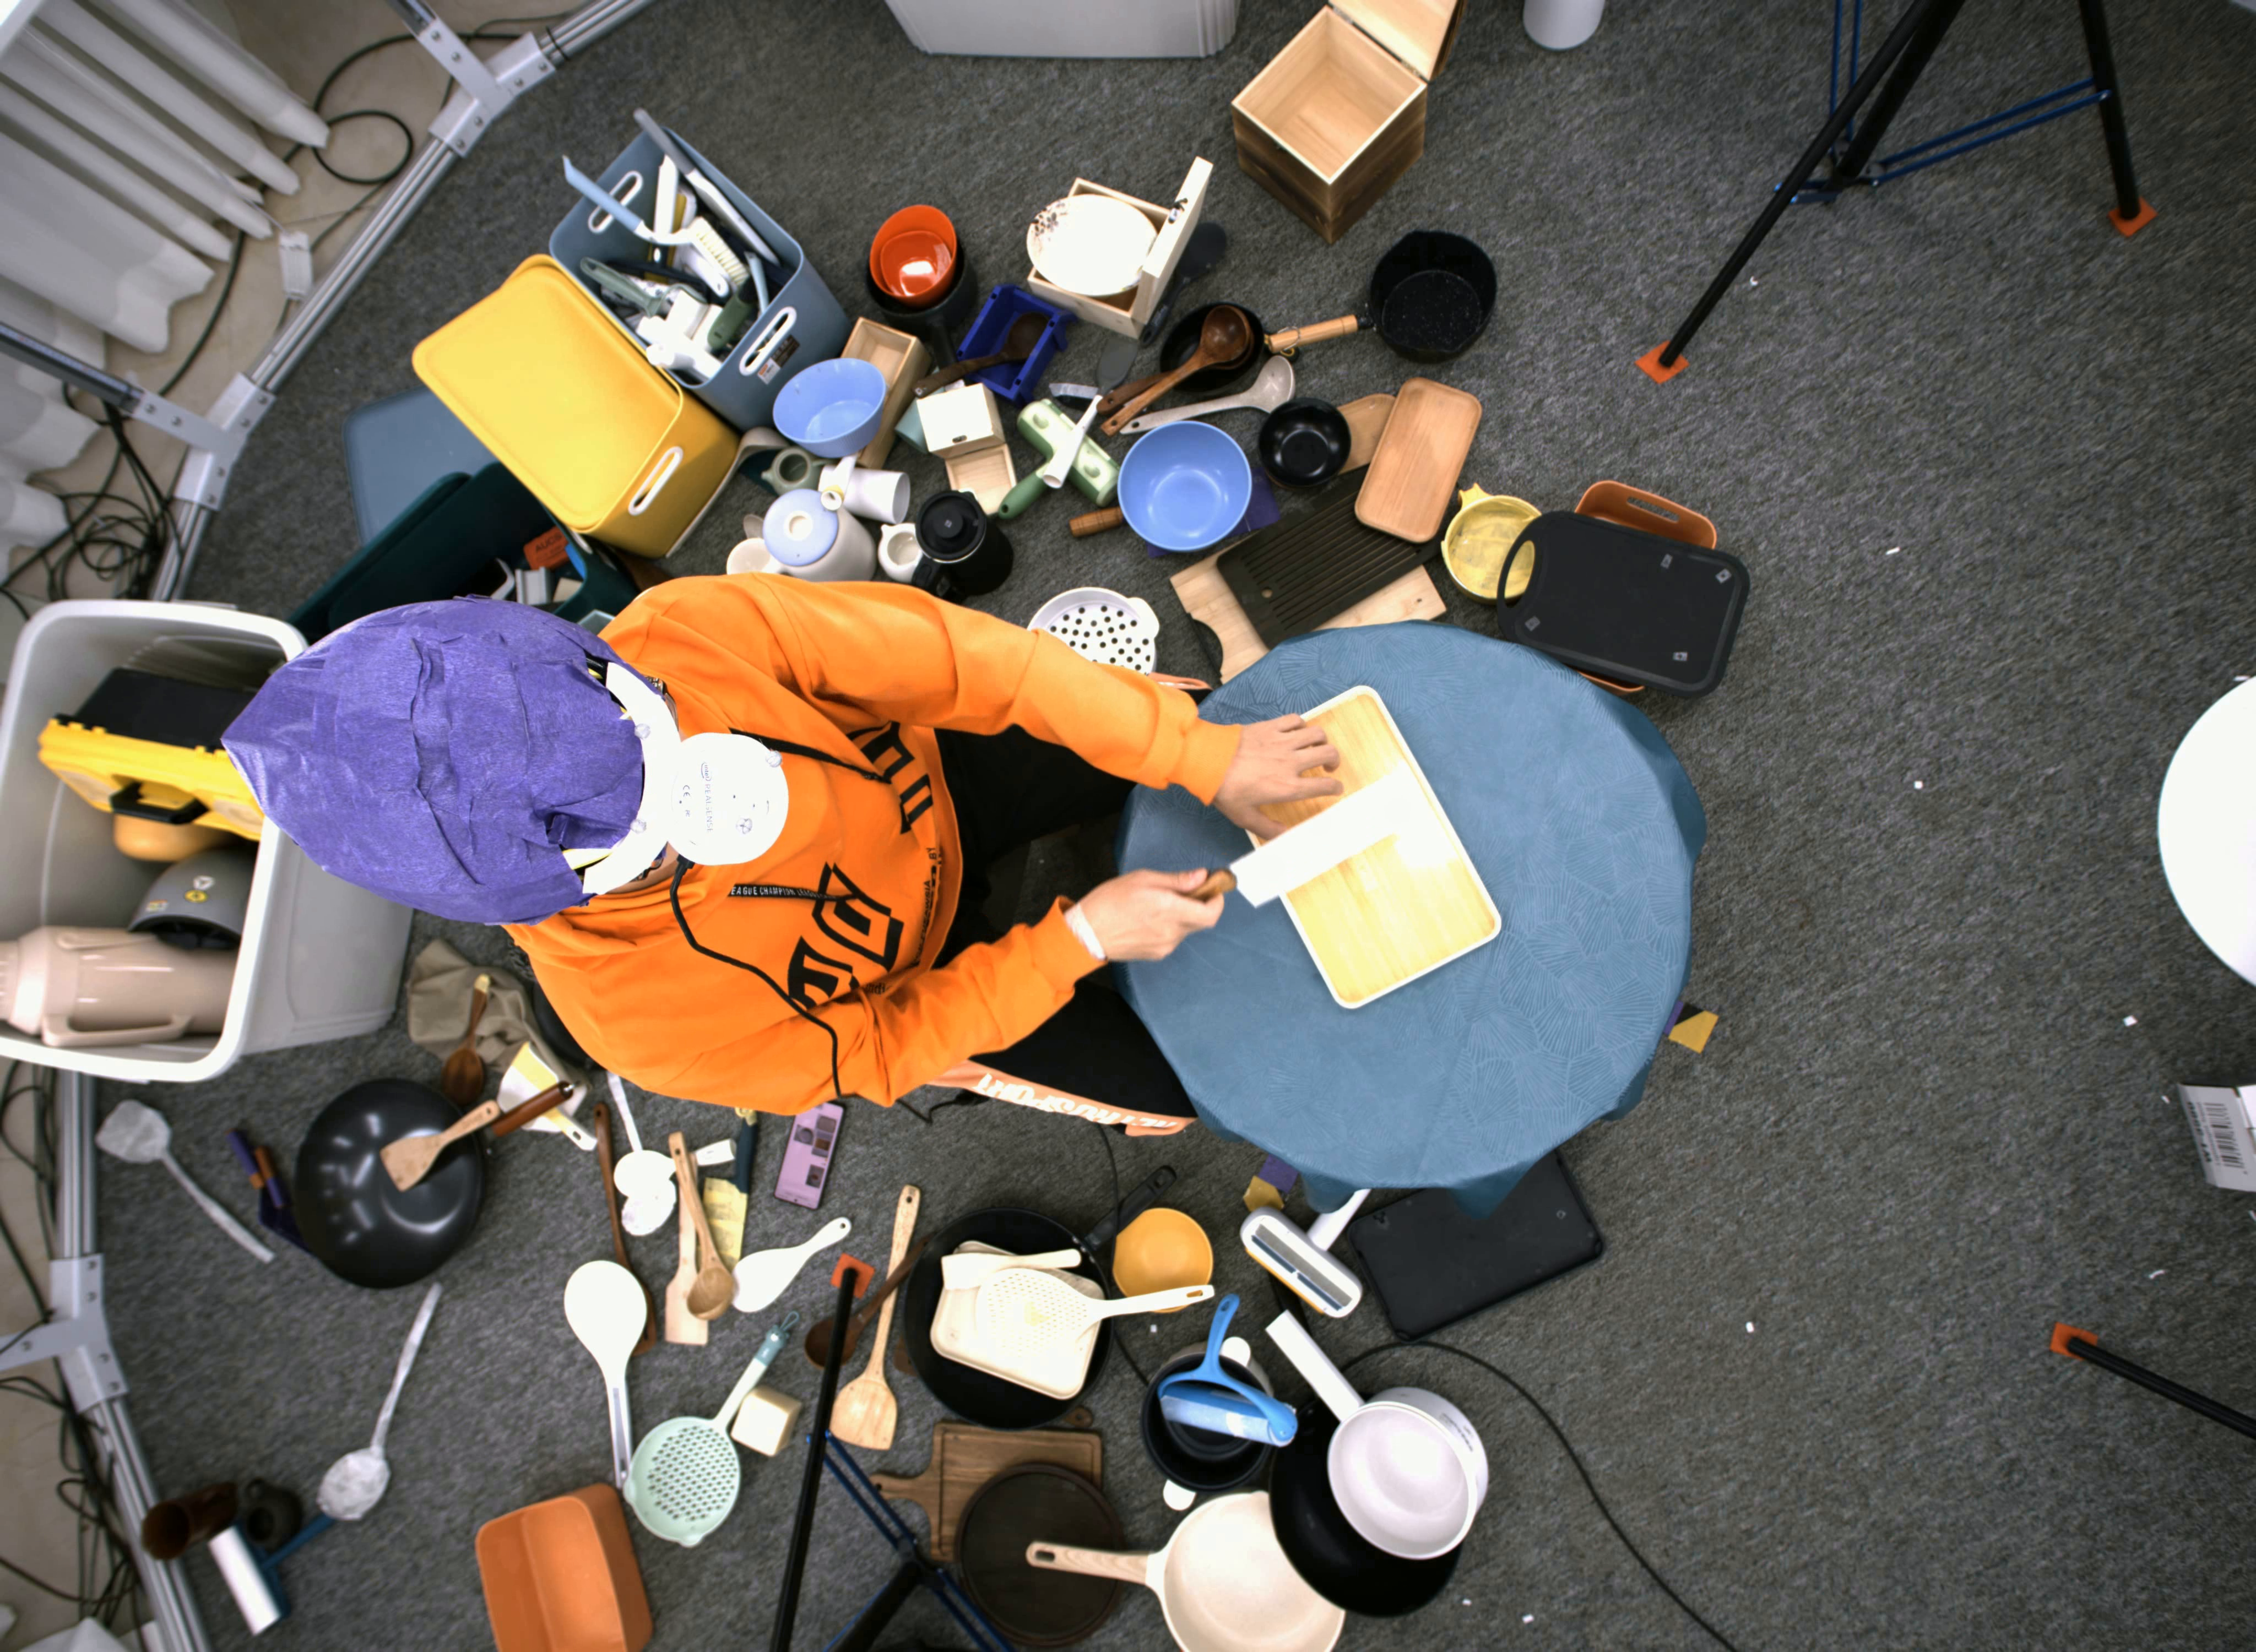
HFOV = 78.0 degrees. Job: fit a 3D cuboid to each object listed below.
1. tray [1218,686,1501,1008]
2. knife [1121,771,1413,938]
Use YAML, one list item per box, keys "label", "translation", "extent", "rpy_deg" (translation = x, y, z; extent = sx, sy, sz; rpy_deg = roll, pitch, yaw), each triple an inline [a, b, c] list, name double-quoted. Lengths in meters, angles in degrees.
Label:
- label: "tray"
  translation: [0.241, 0.020, 1.454]
  extent: [0.192, 0.027, 0.298]
  rpy_deg: [-28, 83, 7]
- label: "knife"
  translation: [0.139, 0.038, 1.361]
  extent: [0.309, 0.094, 0.020]
  rpy_deg: [-30, 54, 16]
